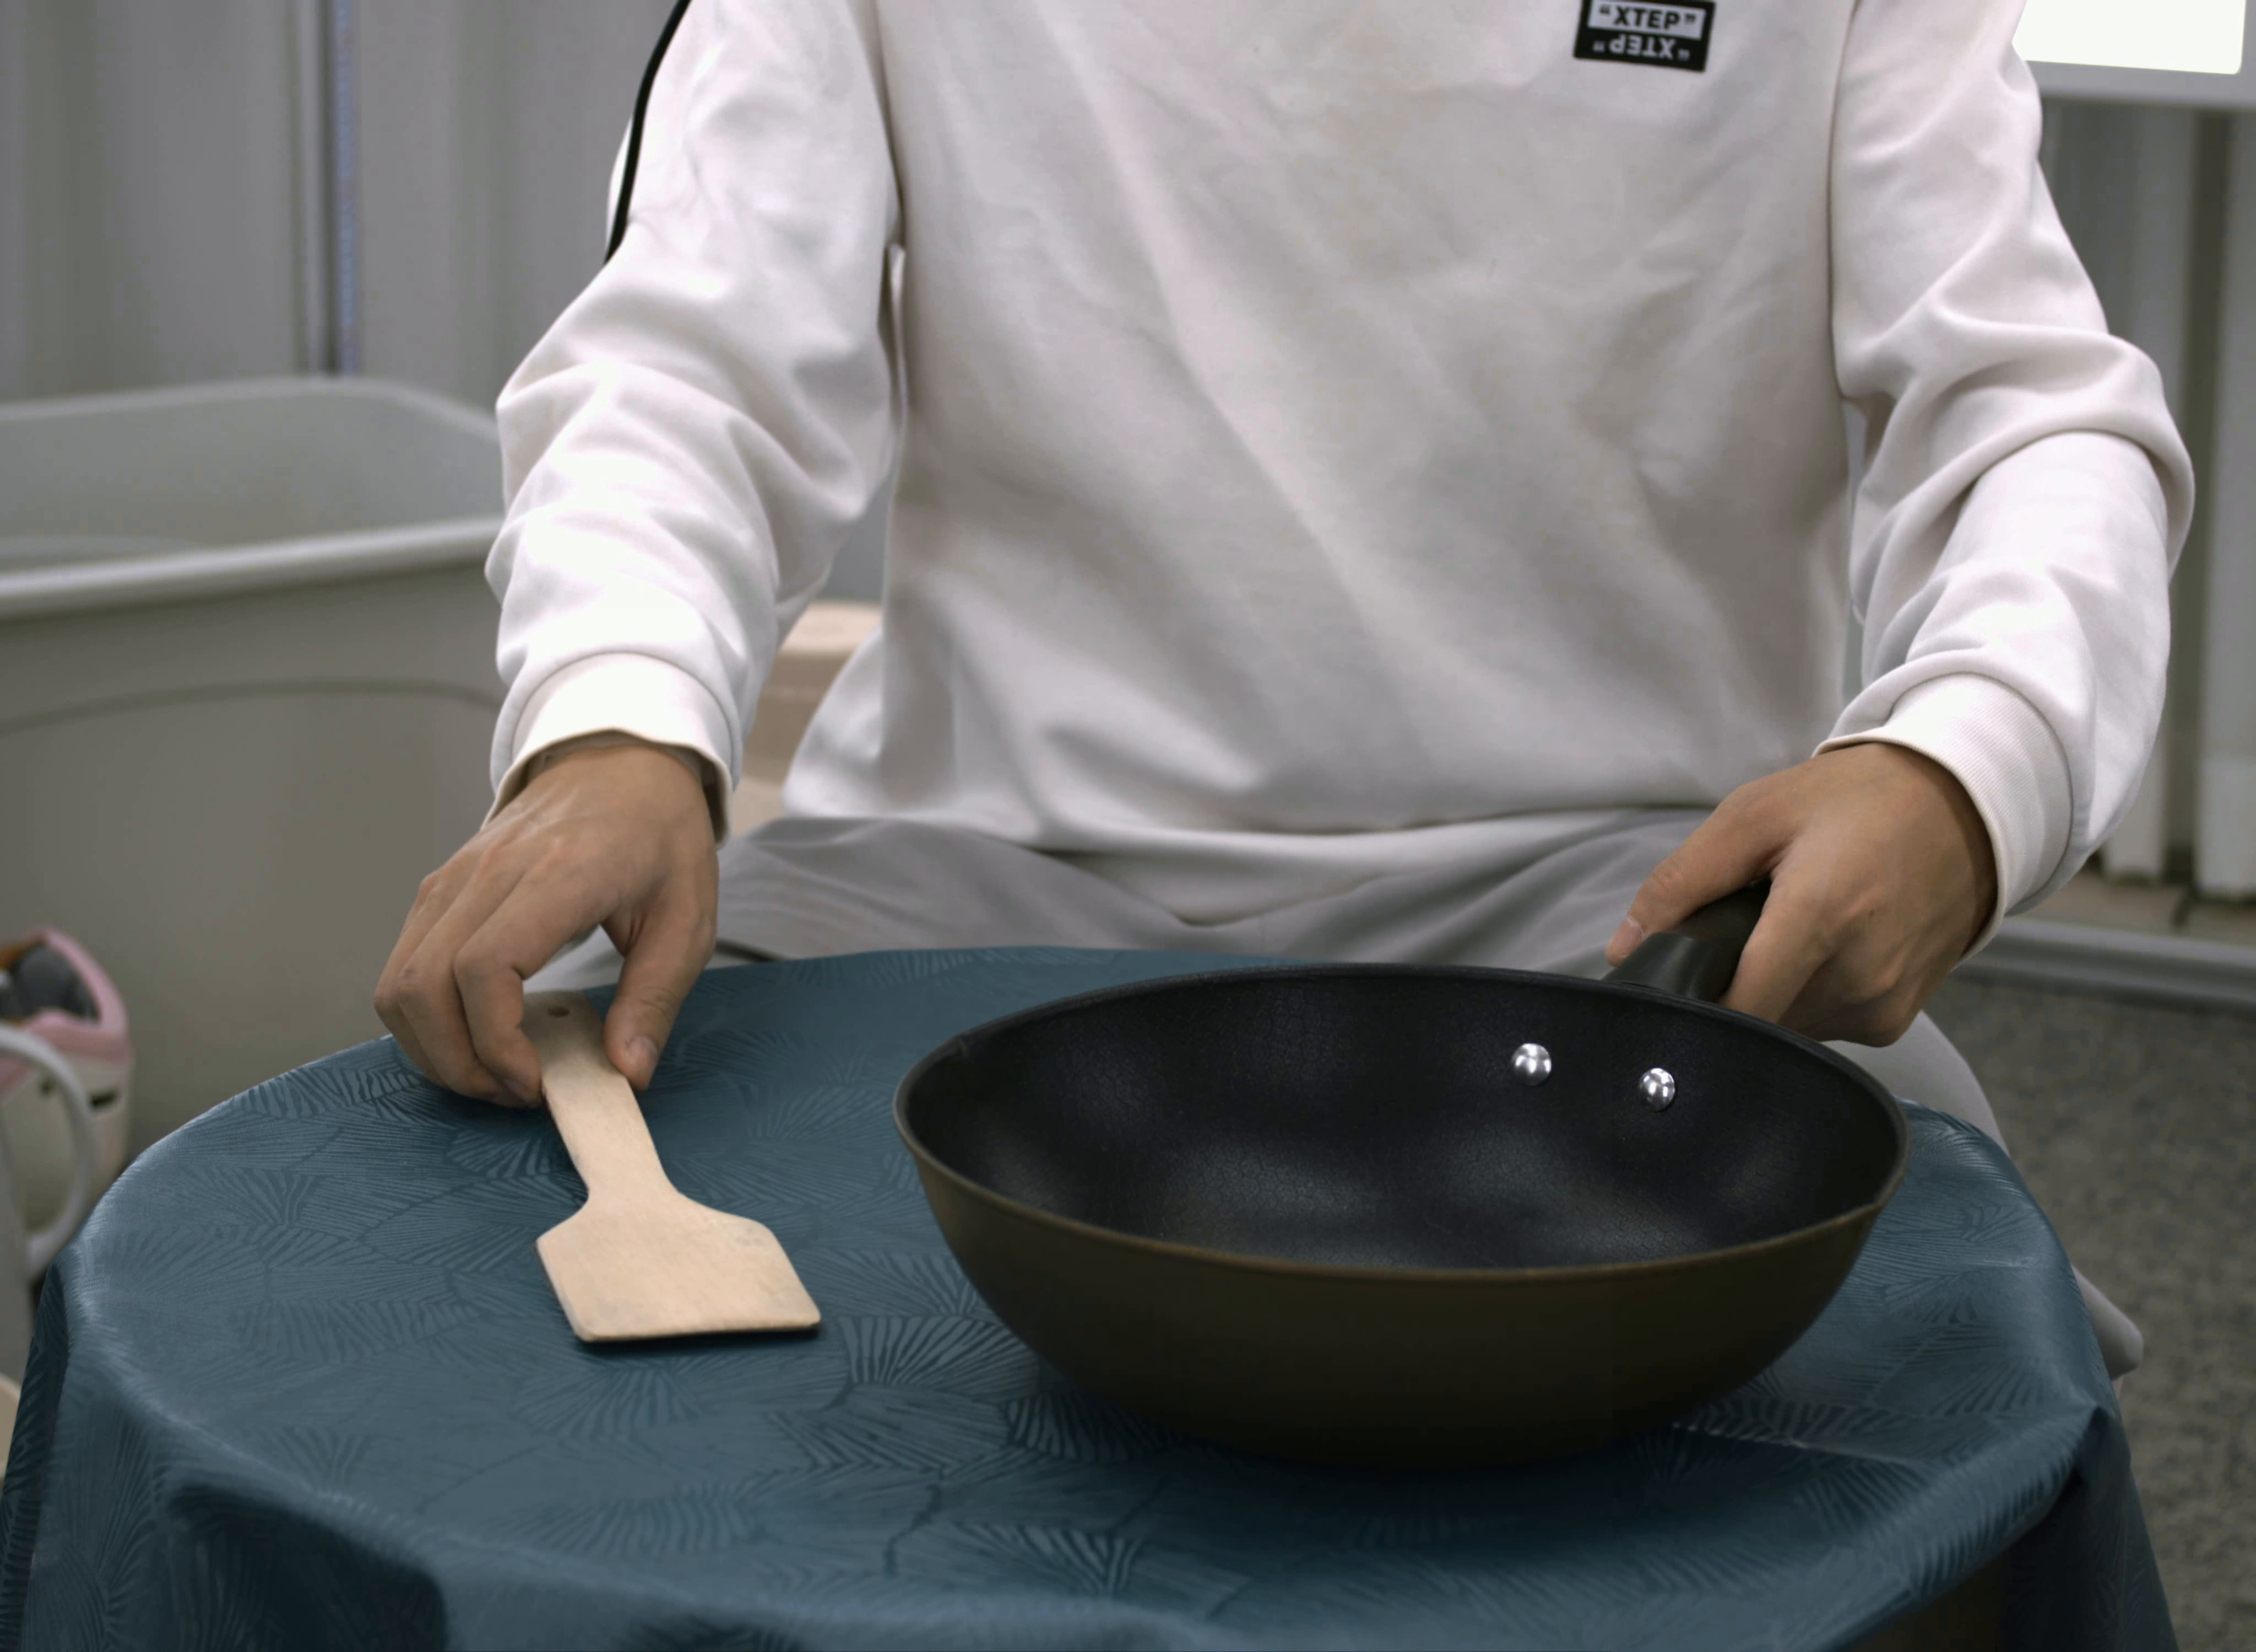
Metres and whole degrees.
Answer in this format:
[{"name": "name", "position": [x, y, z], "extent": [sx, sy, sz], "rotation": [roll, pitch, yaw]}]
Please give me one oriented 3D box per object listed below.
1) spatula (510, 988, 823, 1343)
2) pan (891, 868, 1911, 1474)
[{"name": "spatula", "position": [-0.158, 0.102, 1.628], "extent": [0.072, 0.011, 0.290], "rotation": [-3, 19, -15]}, {"name": "pan", "position": [0.120, 0.095, 1.544], "extent": [0.285, 0.087, 0.465], "rotation": [10, 17, 29]}]
